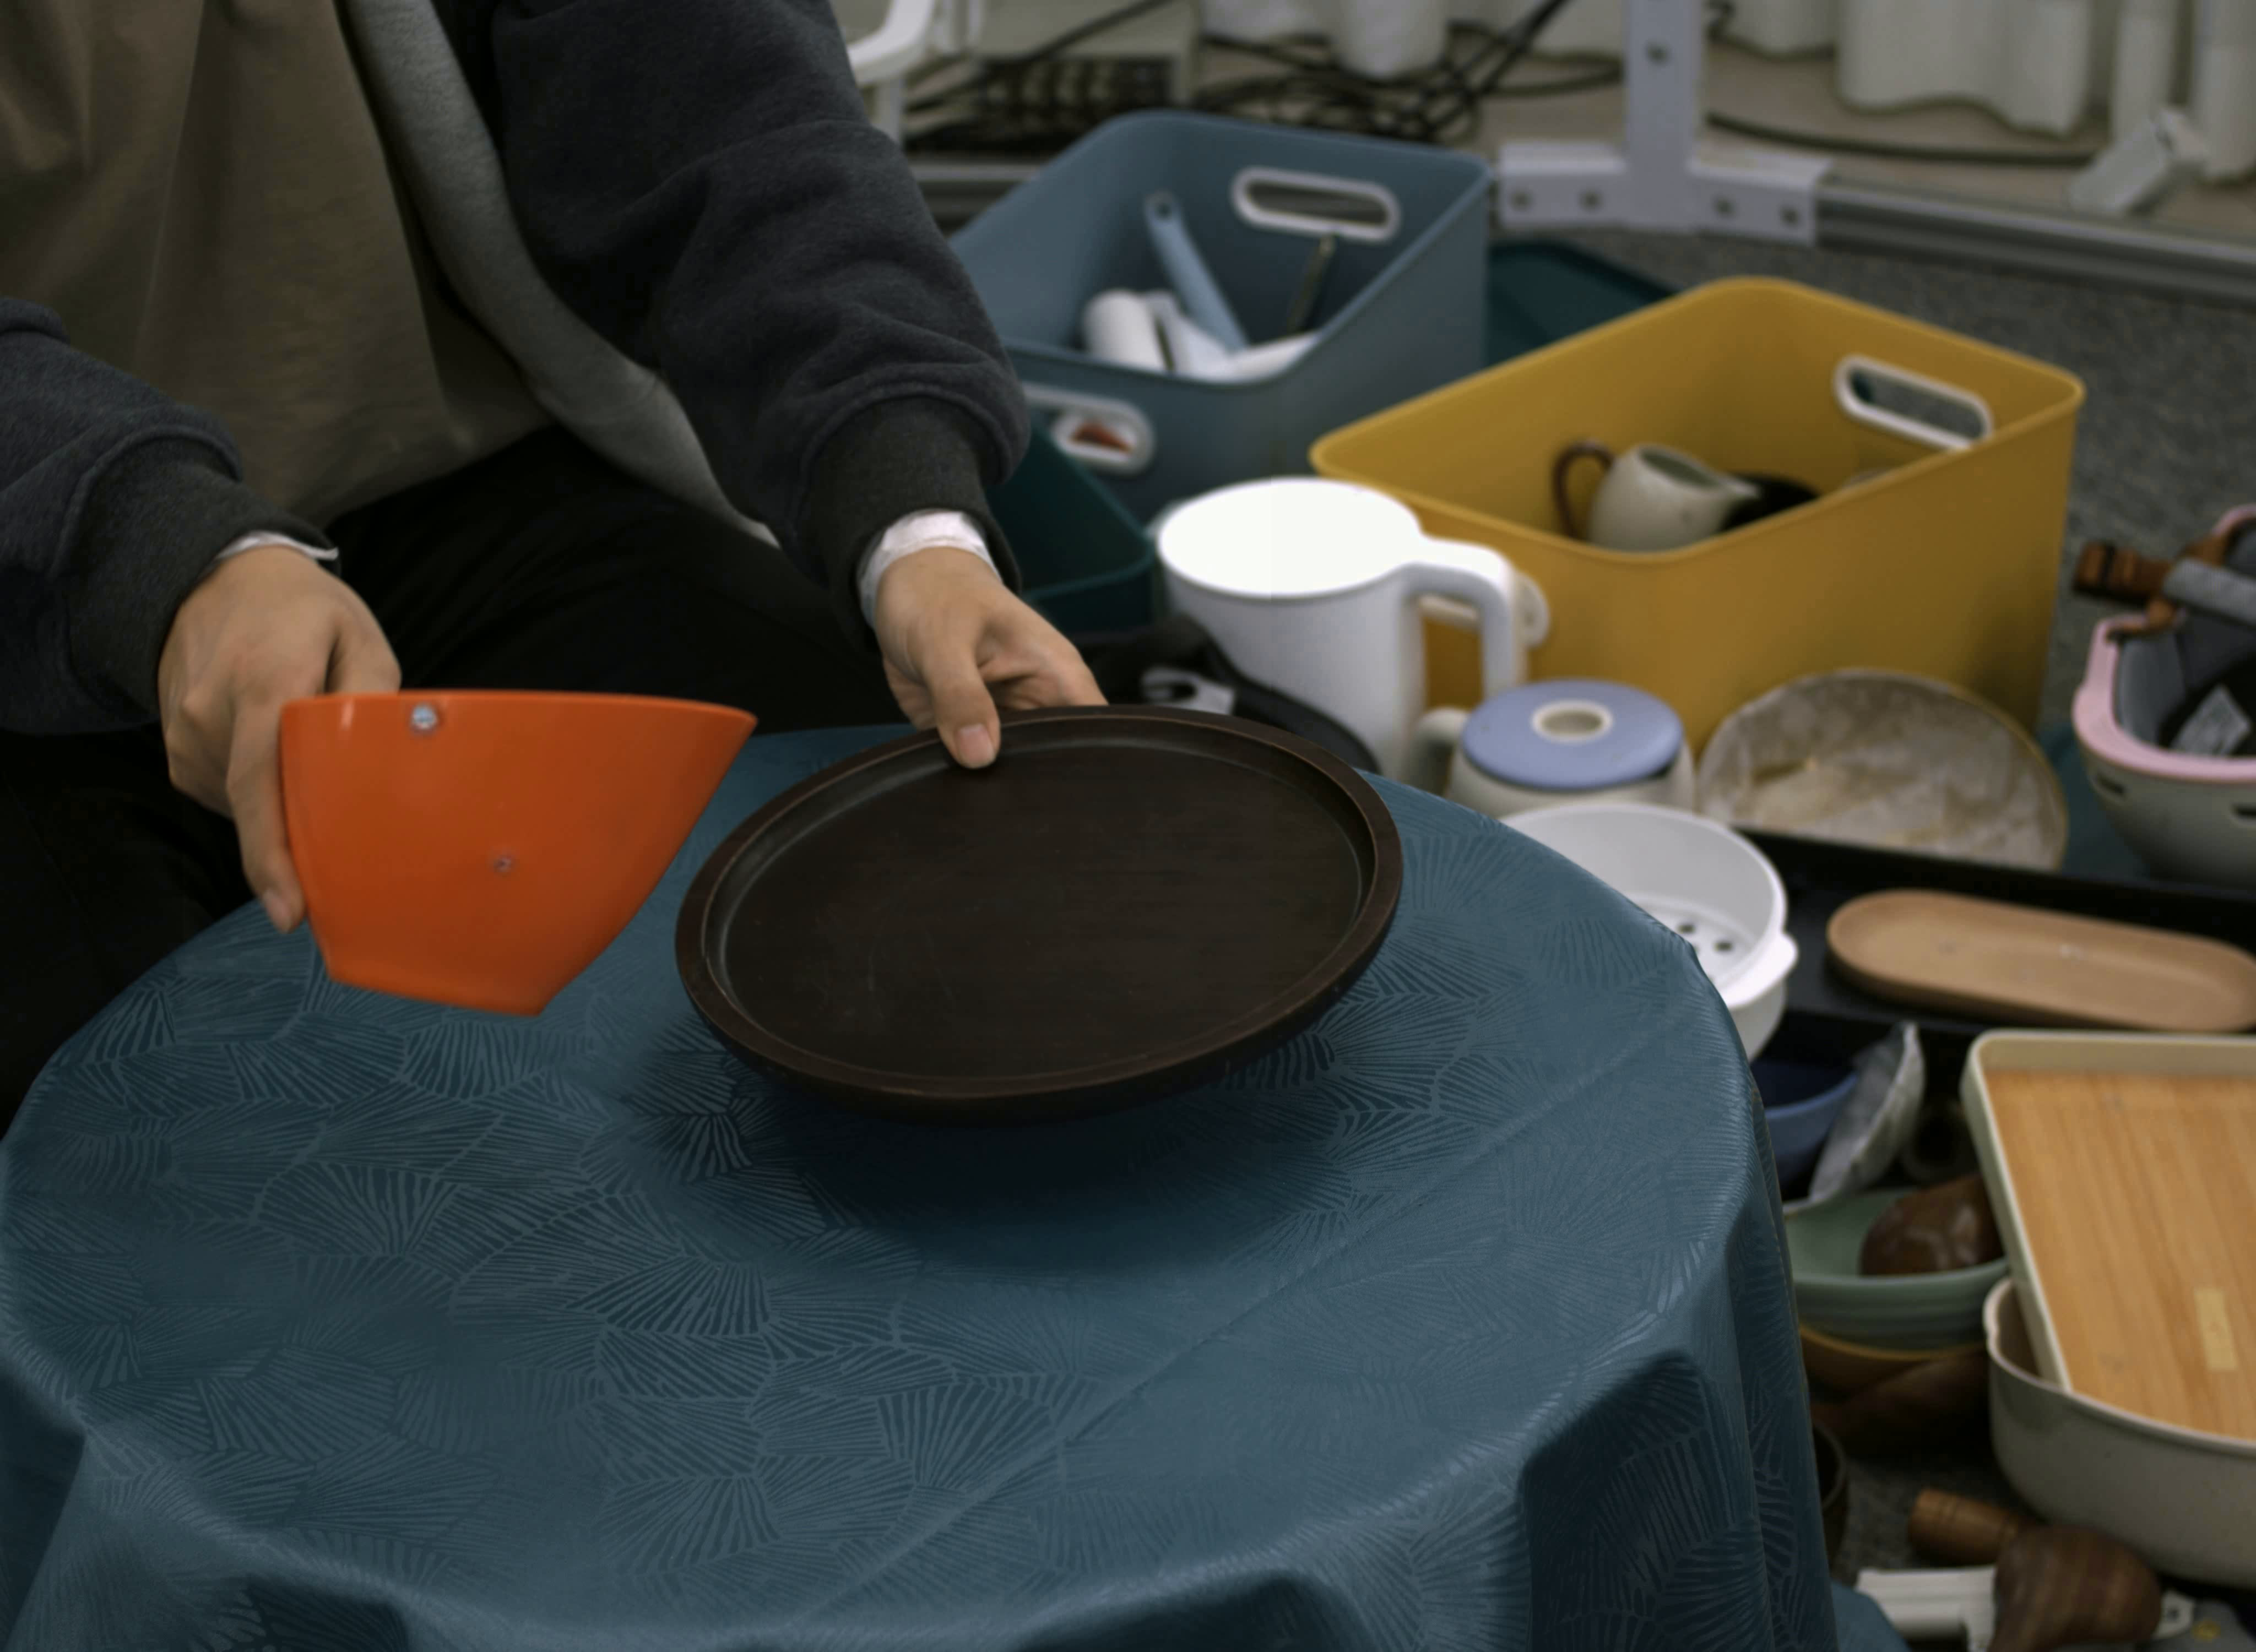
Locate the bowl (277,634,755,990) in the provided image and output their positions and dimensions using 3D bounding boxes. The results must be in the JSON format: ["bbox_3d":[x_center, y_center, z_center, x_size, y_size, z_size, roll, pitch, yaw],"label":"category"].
[{"bbox_3d":[-0.196,-0.005,1.760,0.147,0.104,0.149,7,15,-2],"label":"bowl"}]

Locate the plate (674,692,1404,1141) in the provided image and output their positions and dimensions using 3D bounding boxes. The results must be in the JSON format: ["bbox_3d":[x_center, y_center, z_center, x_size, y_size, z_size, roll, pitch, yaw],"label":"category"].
[{"bbox_3d":[-0.030,0.032,1.930,0.253,0.029,0.259,-6,31,4],"label":"plate"}]
